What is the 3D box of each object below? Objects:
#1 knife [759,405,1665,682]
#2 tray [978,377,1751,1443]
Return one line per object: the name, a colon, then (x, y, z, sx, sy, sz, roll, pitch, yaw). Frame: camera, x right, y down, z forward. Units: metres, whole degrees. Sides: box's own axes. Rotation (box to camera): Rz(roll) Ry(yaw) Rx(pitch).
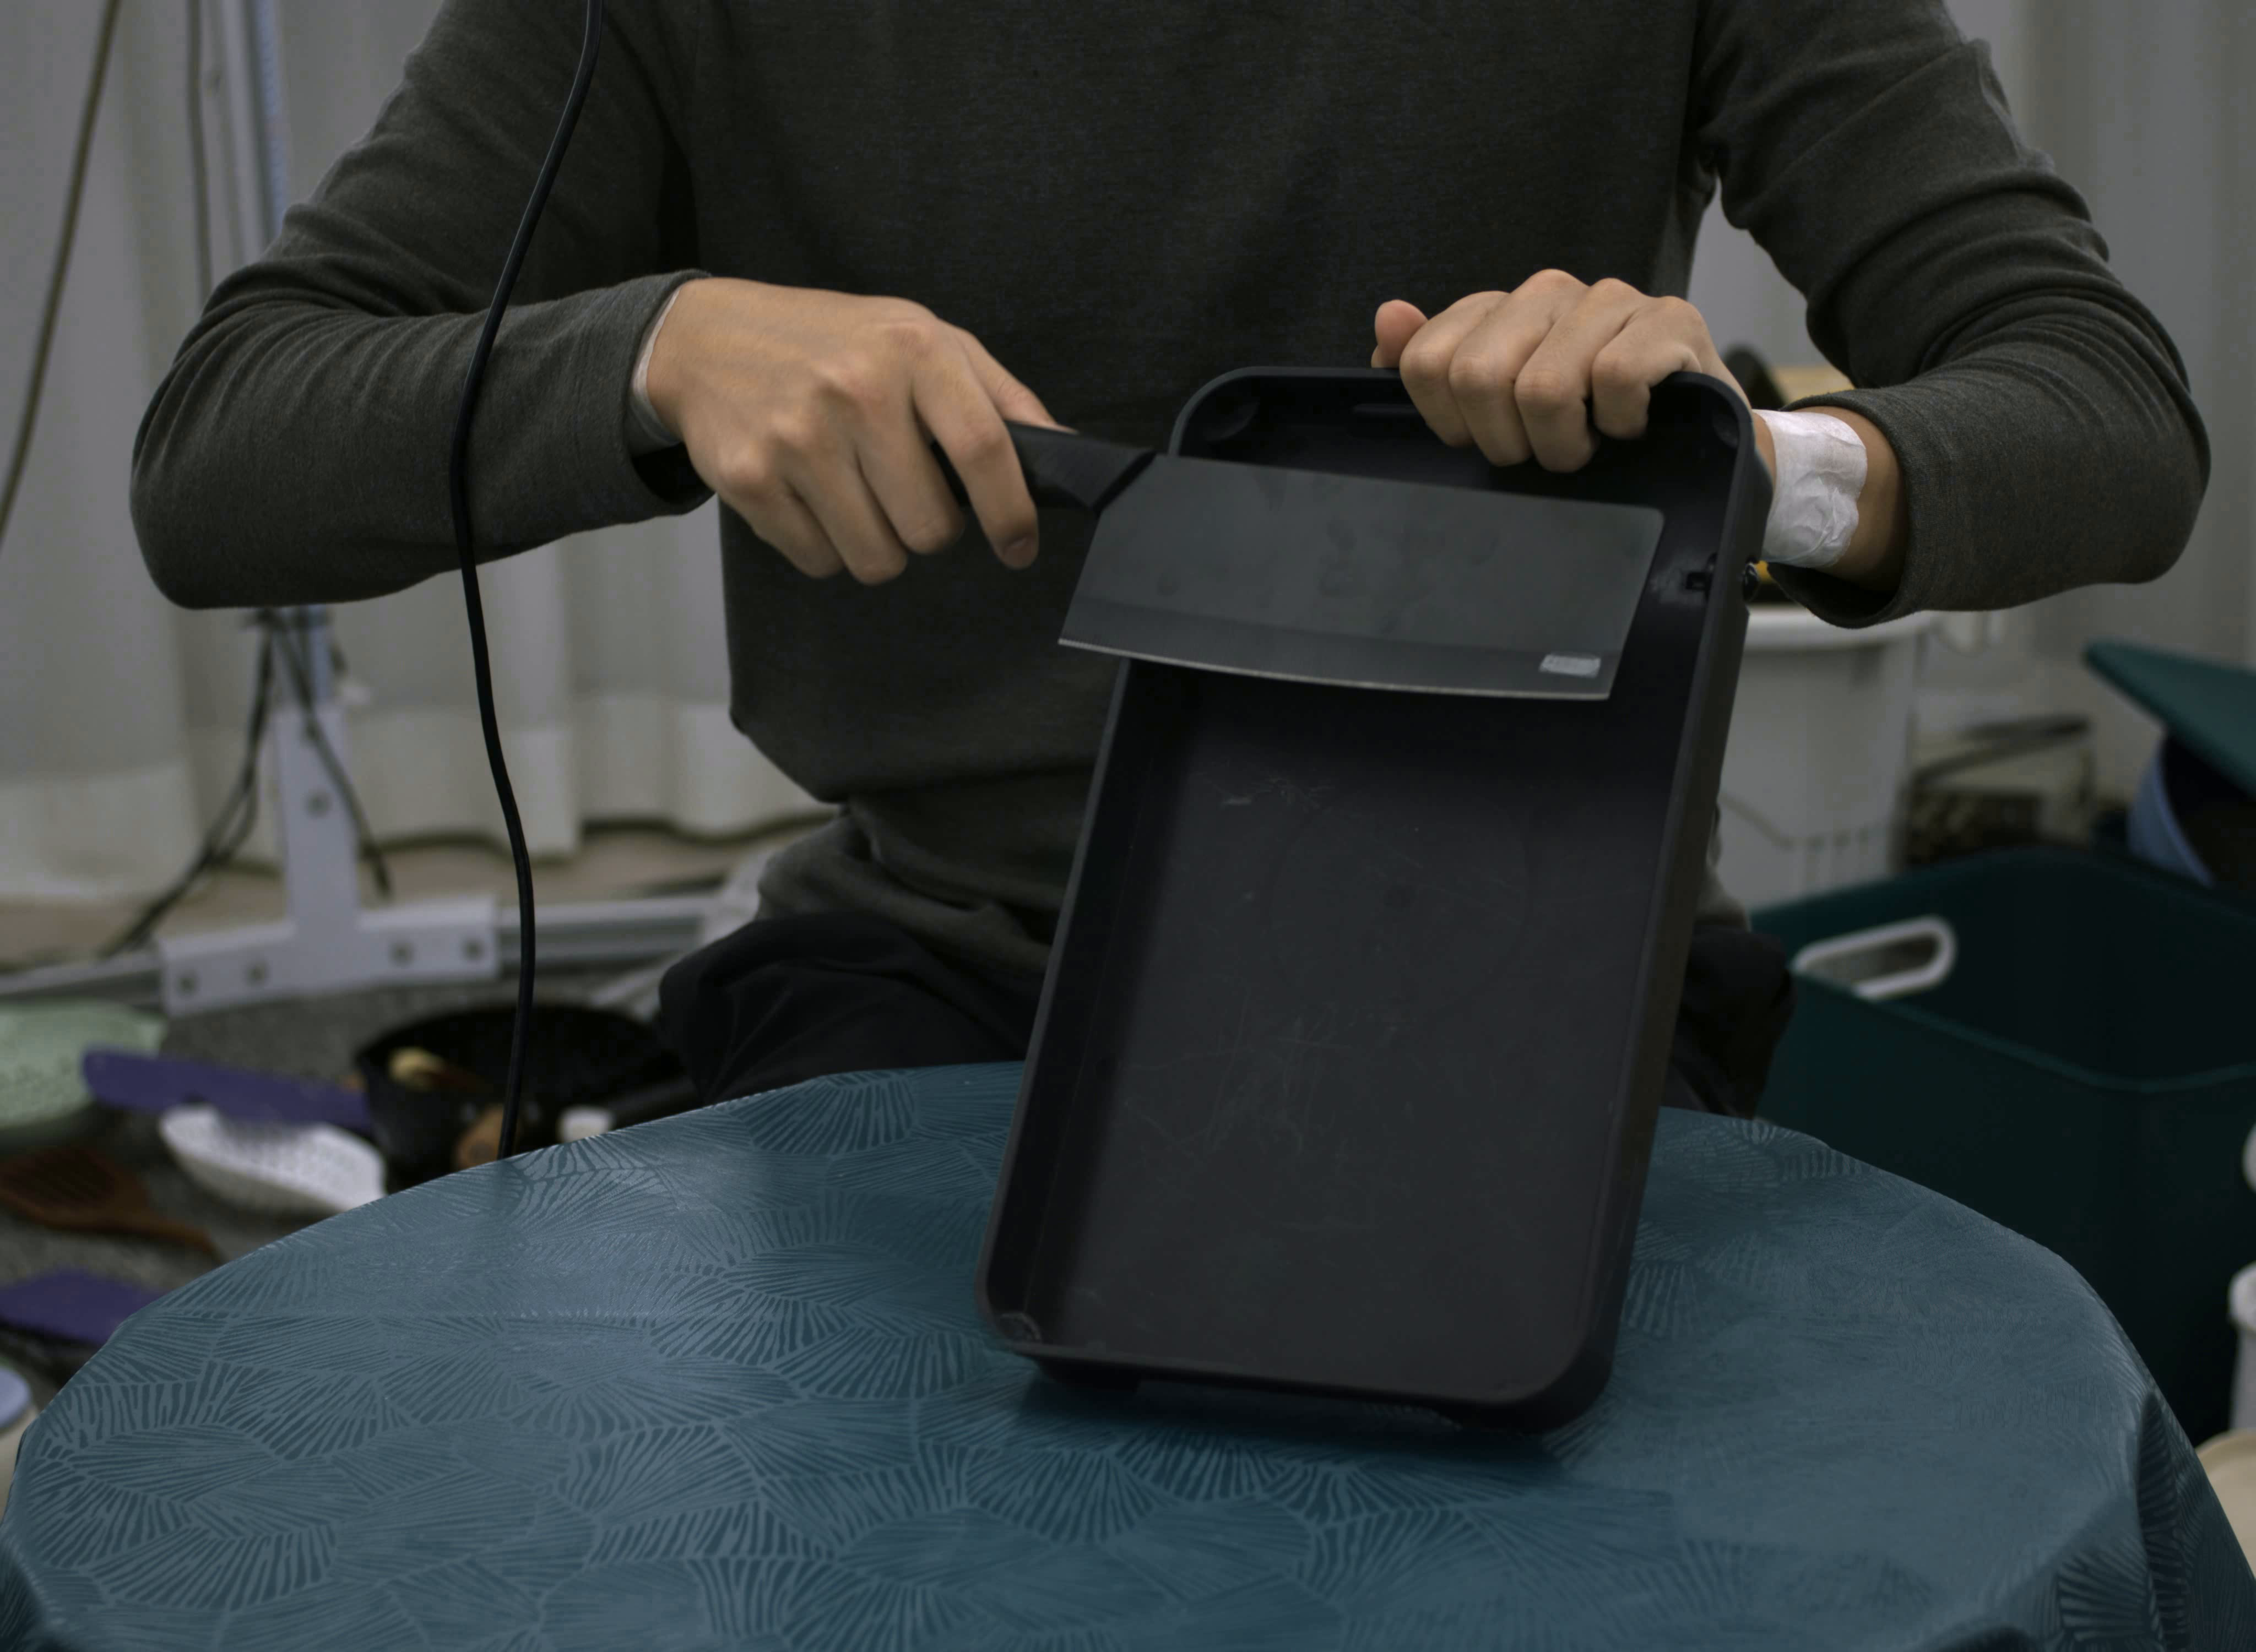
knife: (0.017, -0.087, 1.628, 0.303, 0.081, 0.020, 13, -21, 31)
tray: (0.072, 0.019, 1.570, 0.184, 0.322, 0.036, 1, -26, 22)
